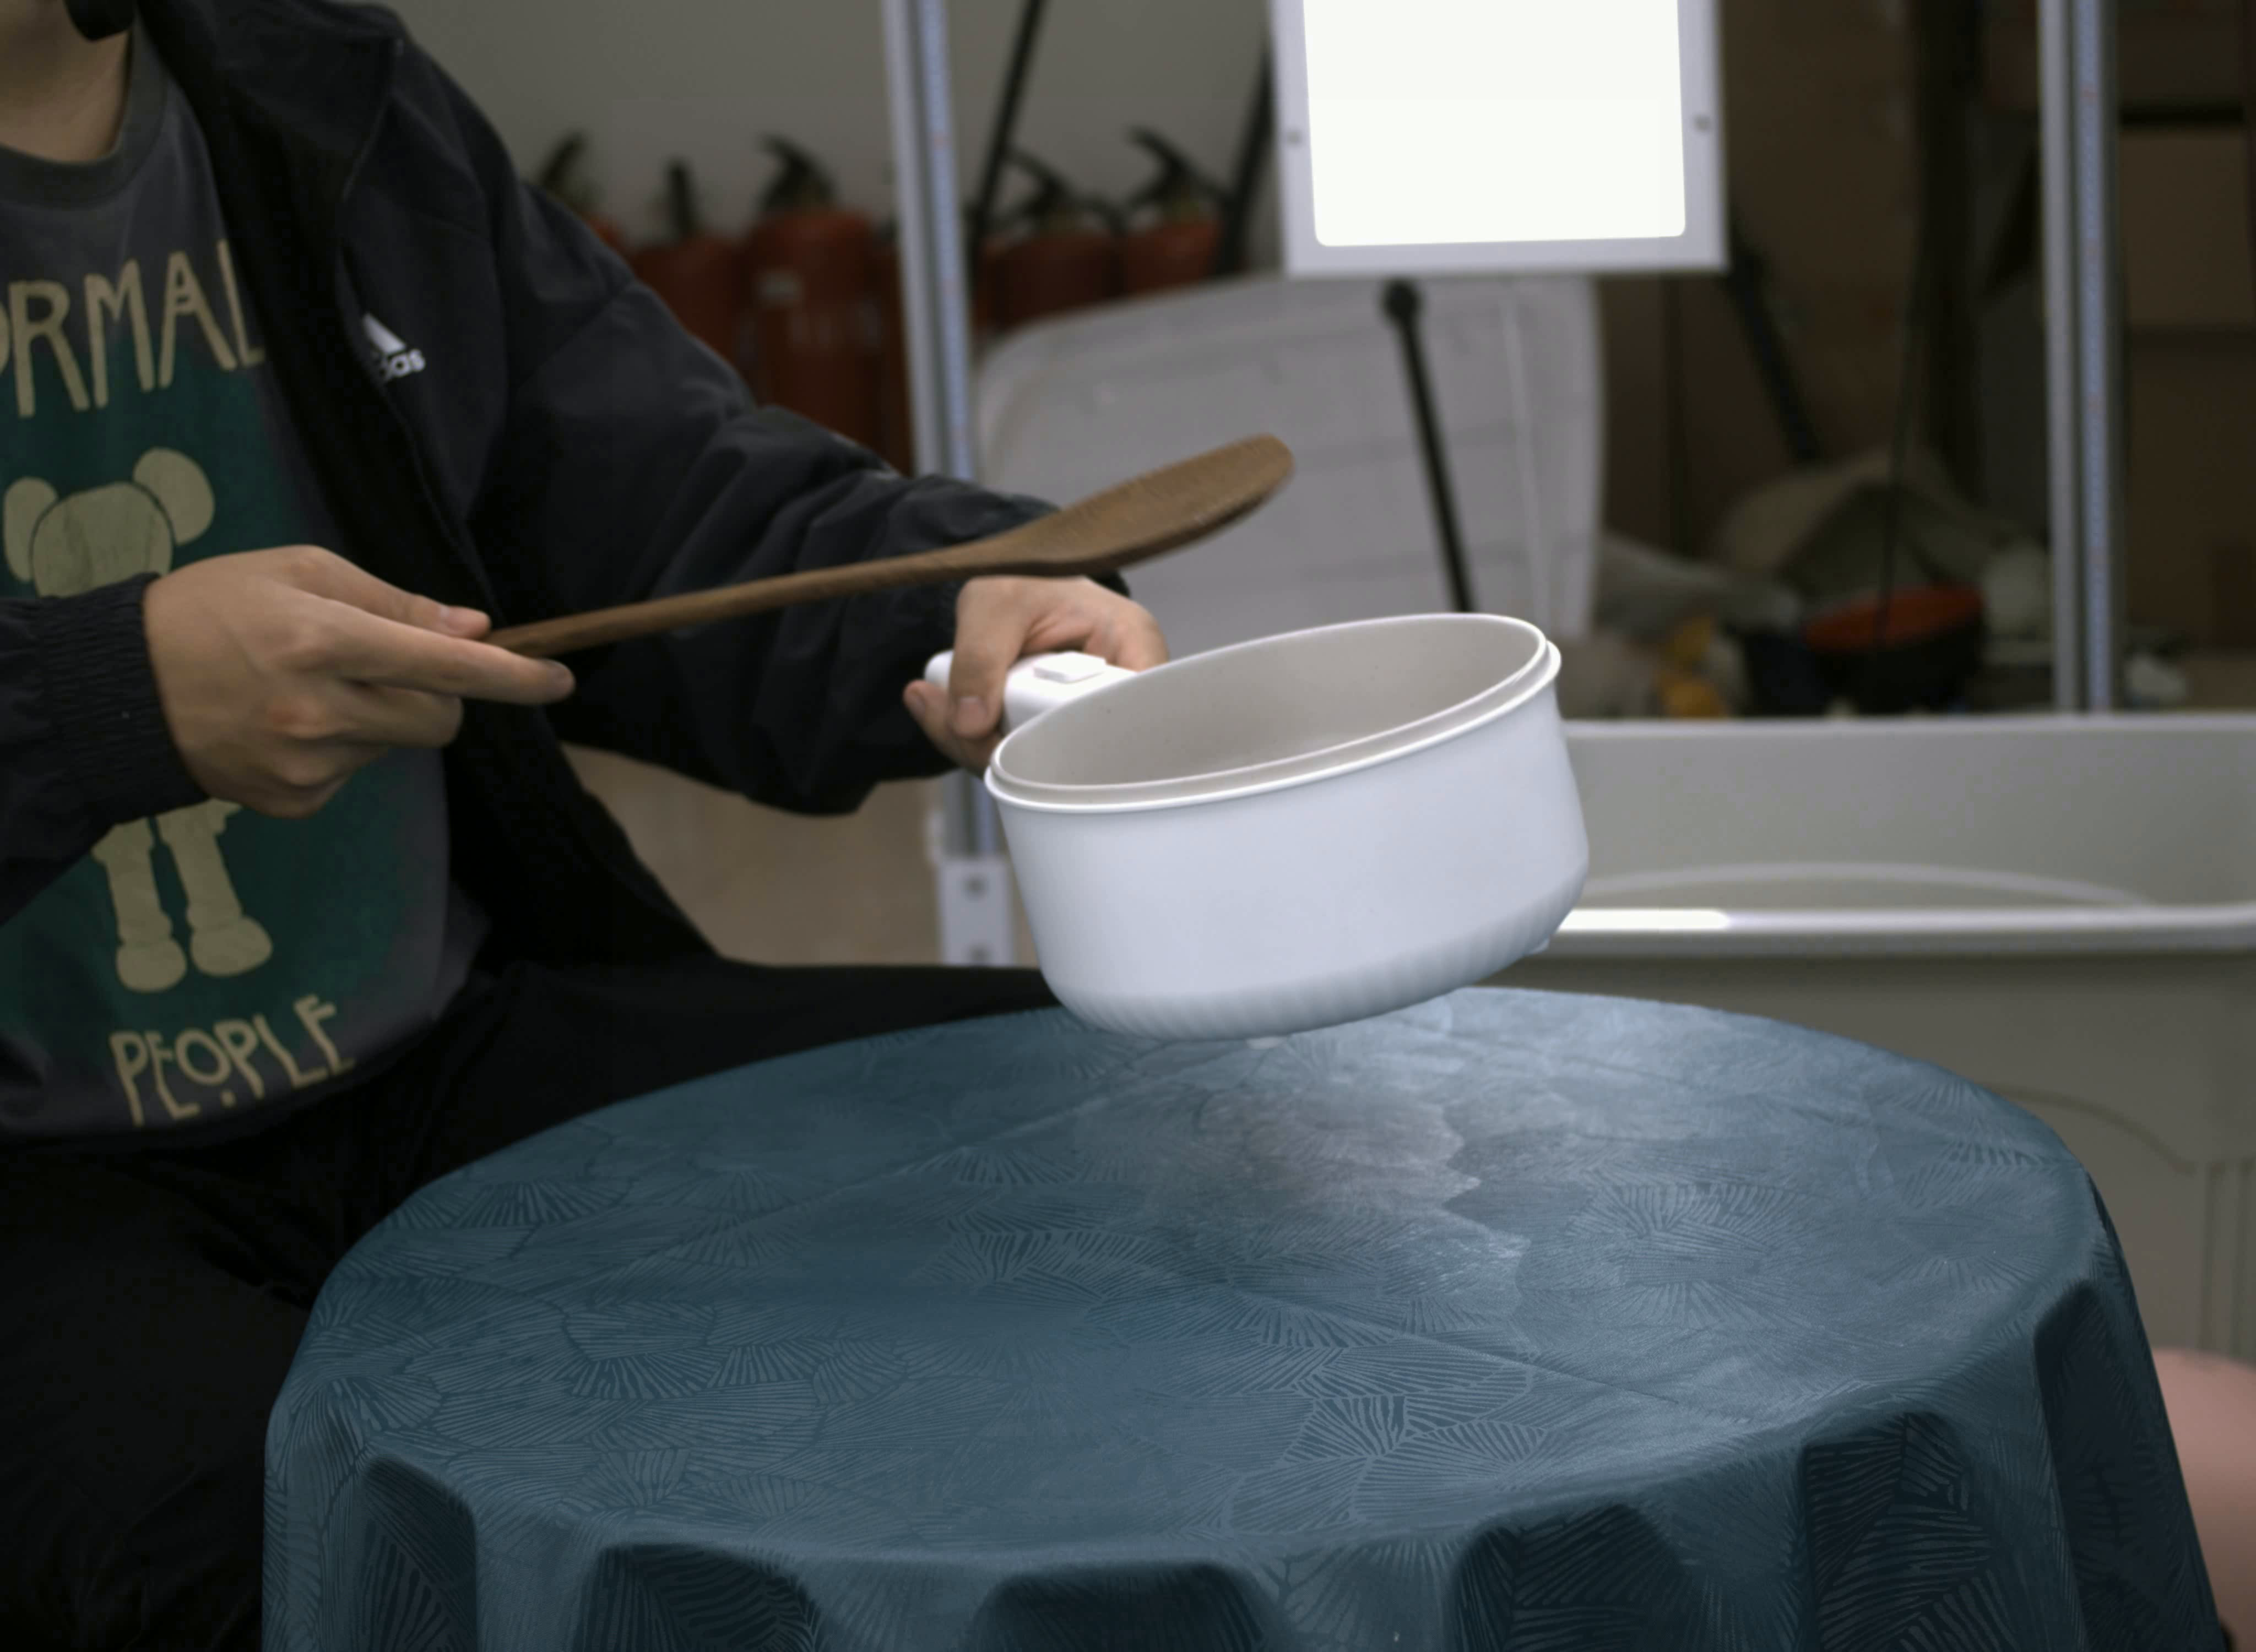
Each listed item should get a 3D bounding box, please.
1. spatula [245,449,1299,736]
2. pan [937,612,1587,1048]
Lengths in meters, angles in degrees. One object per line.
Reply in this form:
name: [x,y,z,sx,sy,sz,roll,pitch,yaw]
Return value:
spatula: [-0.127,-0.076,1.899,0.389,0.016,0.095,-11,18,14]
pan: [0.025,-0.003,1.954,0.197,0.102,0.360,-20,13,-22]
